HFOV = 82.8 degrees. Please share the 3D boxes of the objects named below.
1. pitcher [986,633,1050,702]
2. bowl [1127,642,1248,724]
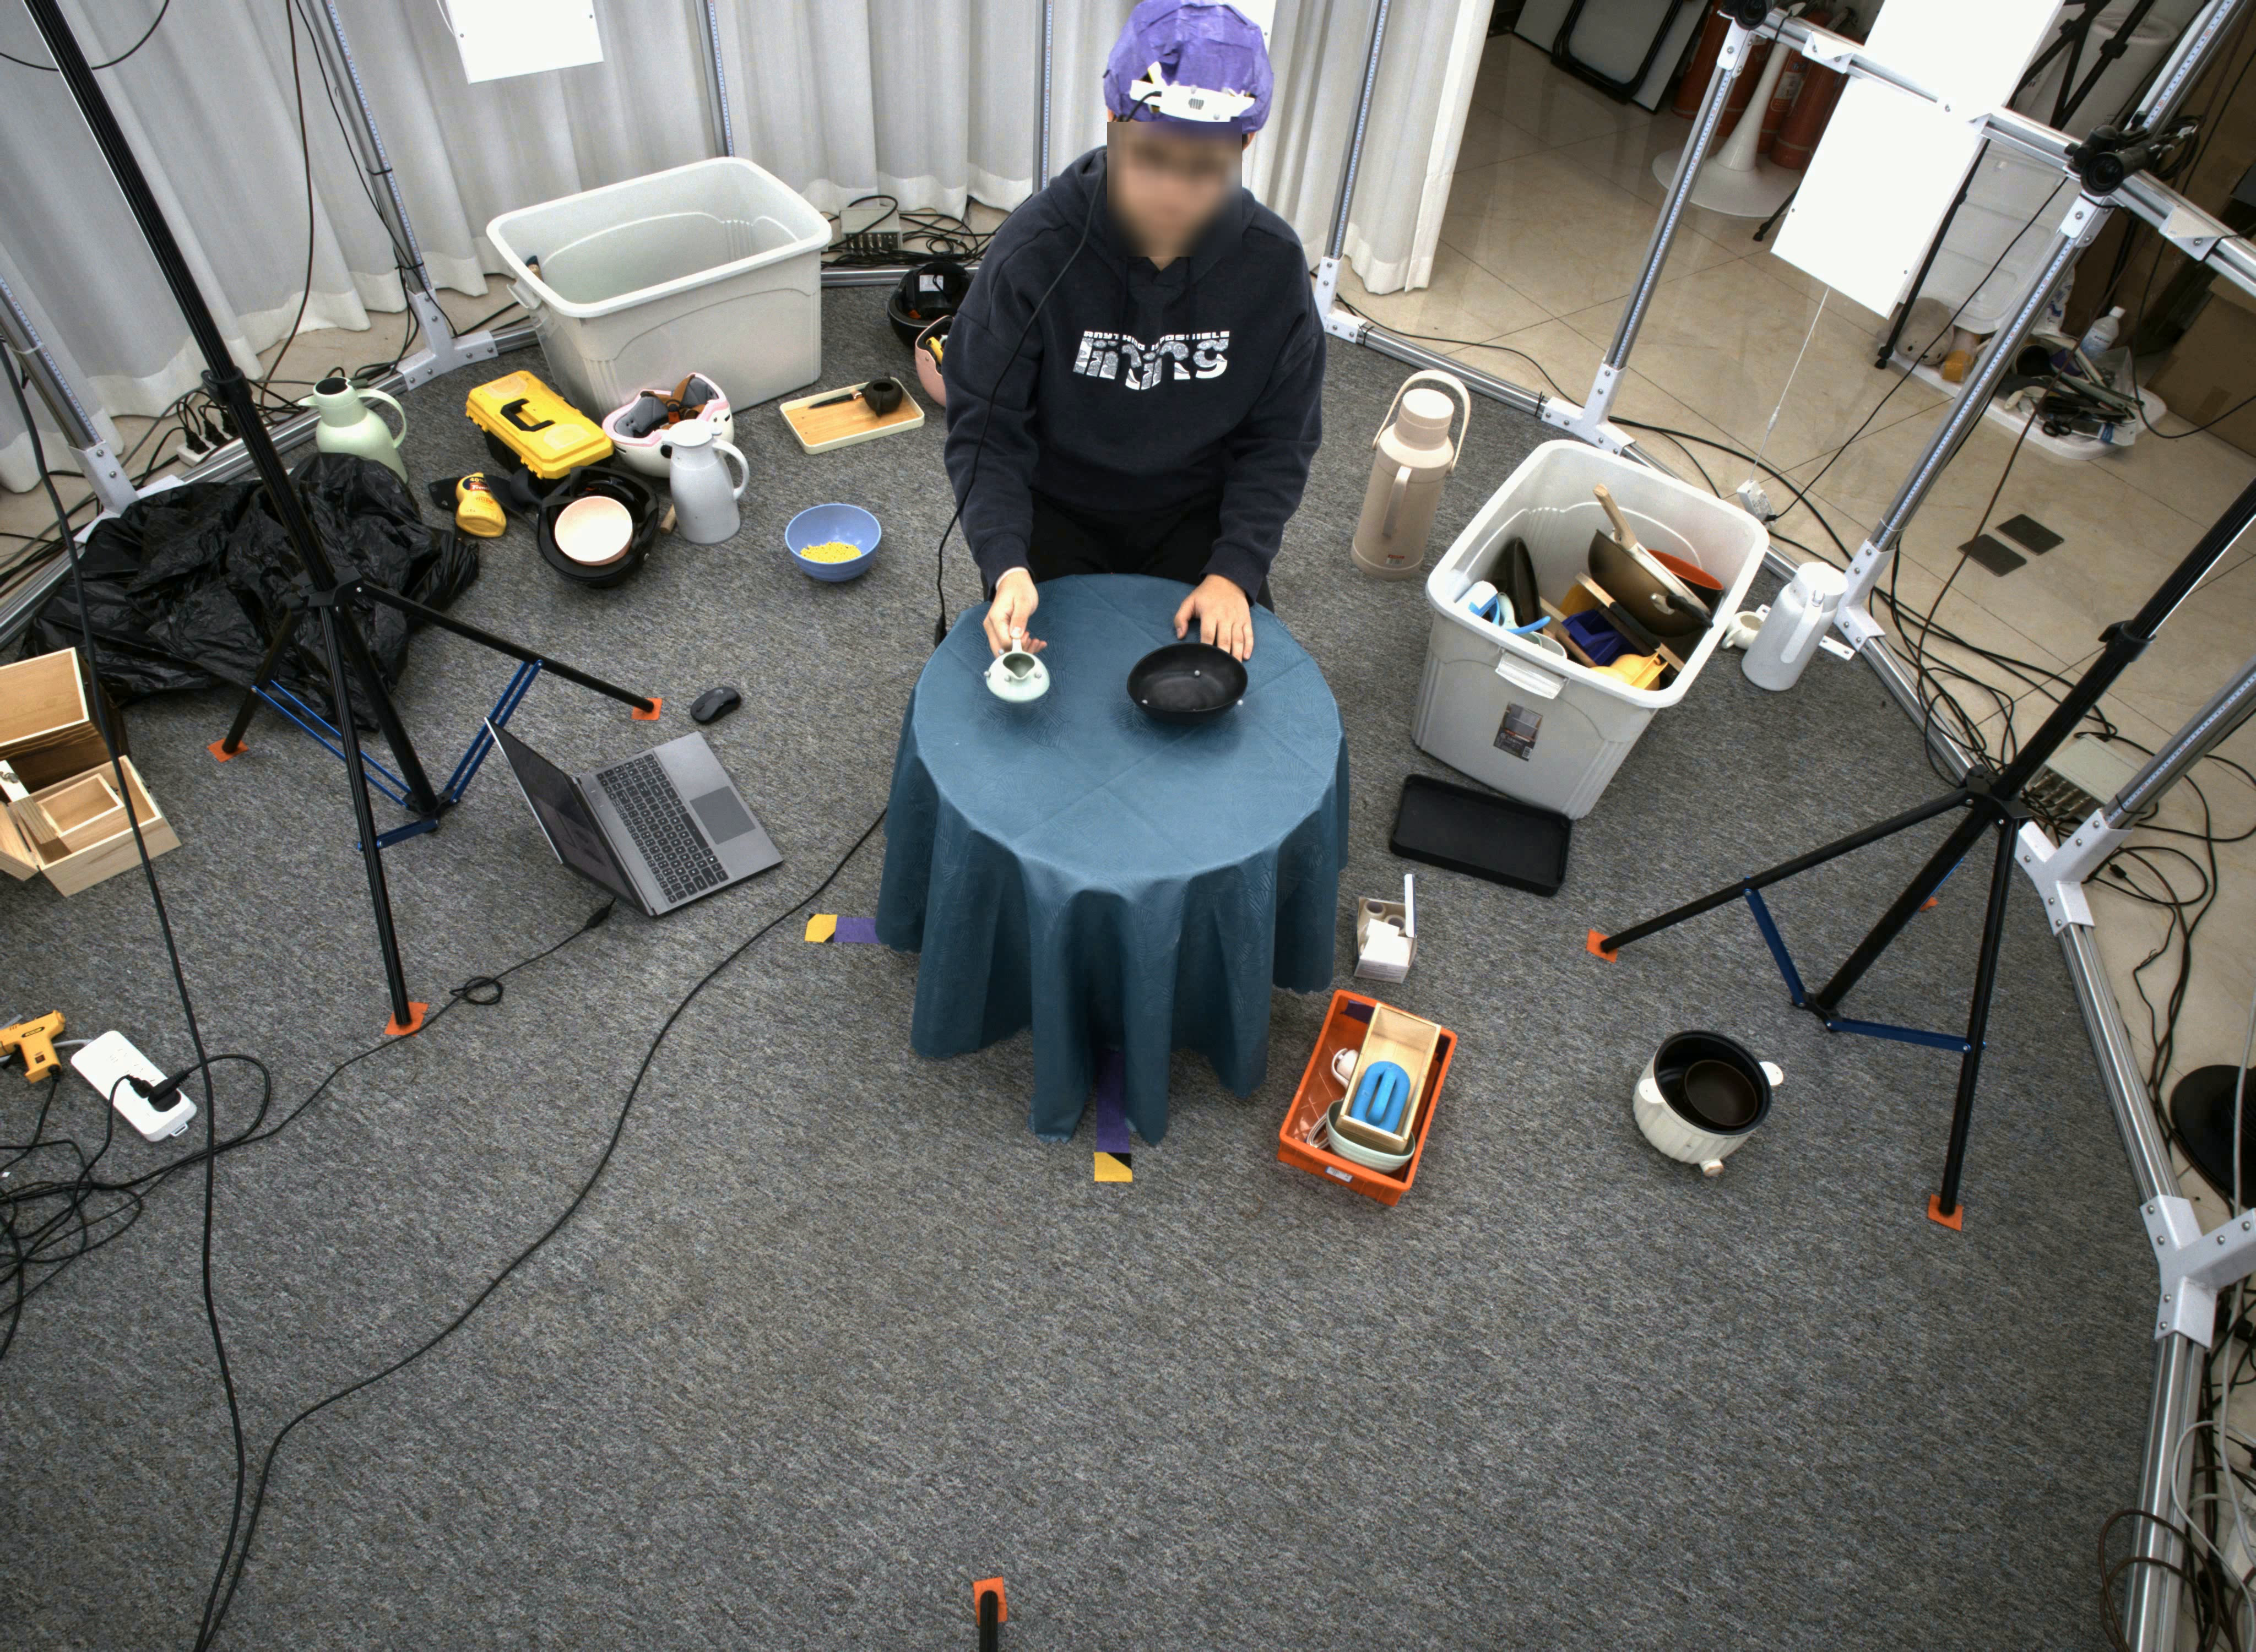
[{"bbox_3d":[-0.150,-0.213,1.745,0.086,0.059,0.111,-2,42,-10],"label":"pitcher"},{"bbox_3d":[0.083,-0.187,1.794,0.170,0.065,0.141,-9,50,-11],"label":"bowl"}]
